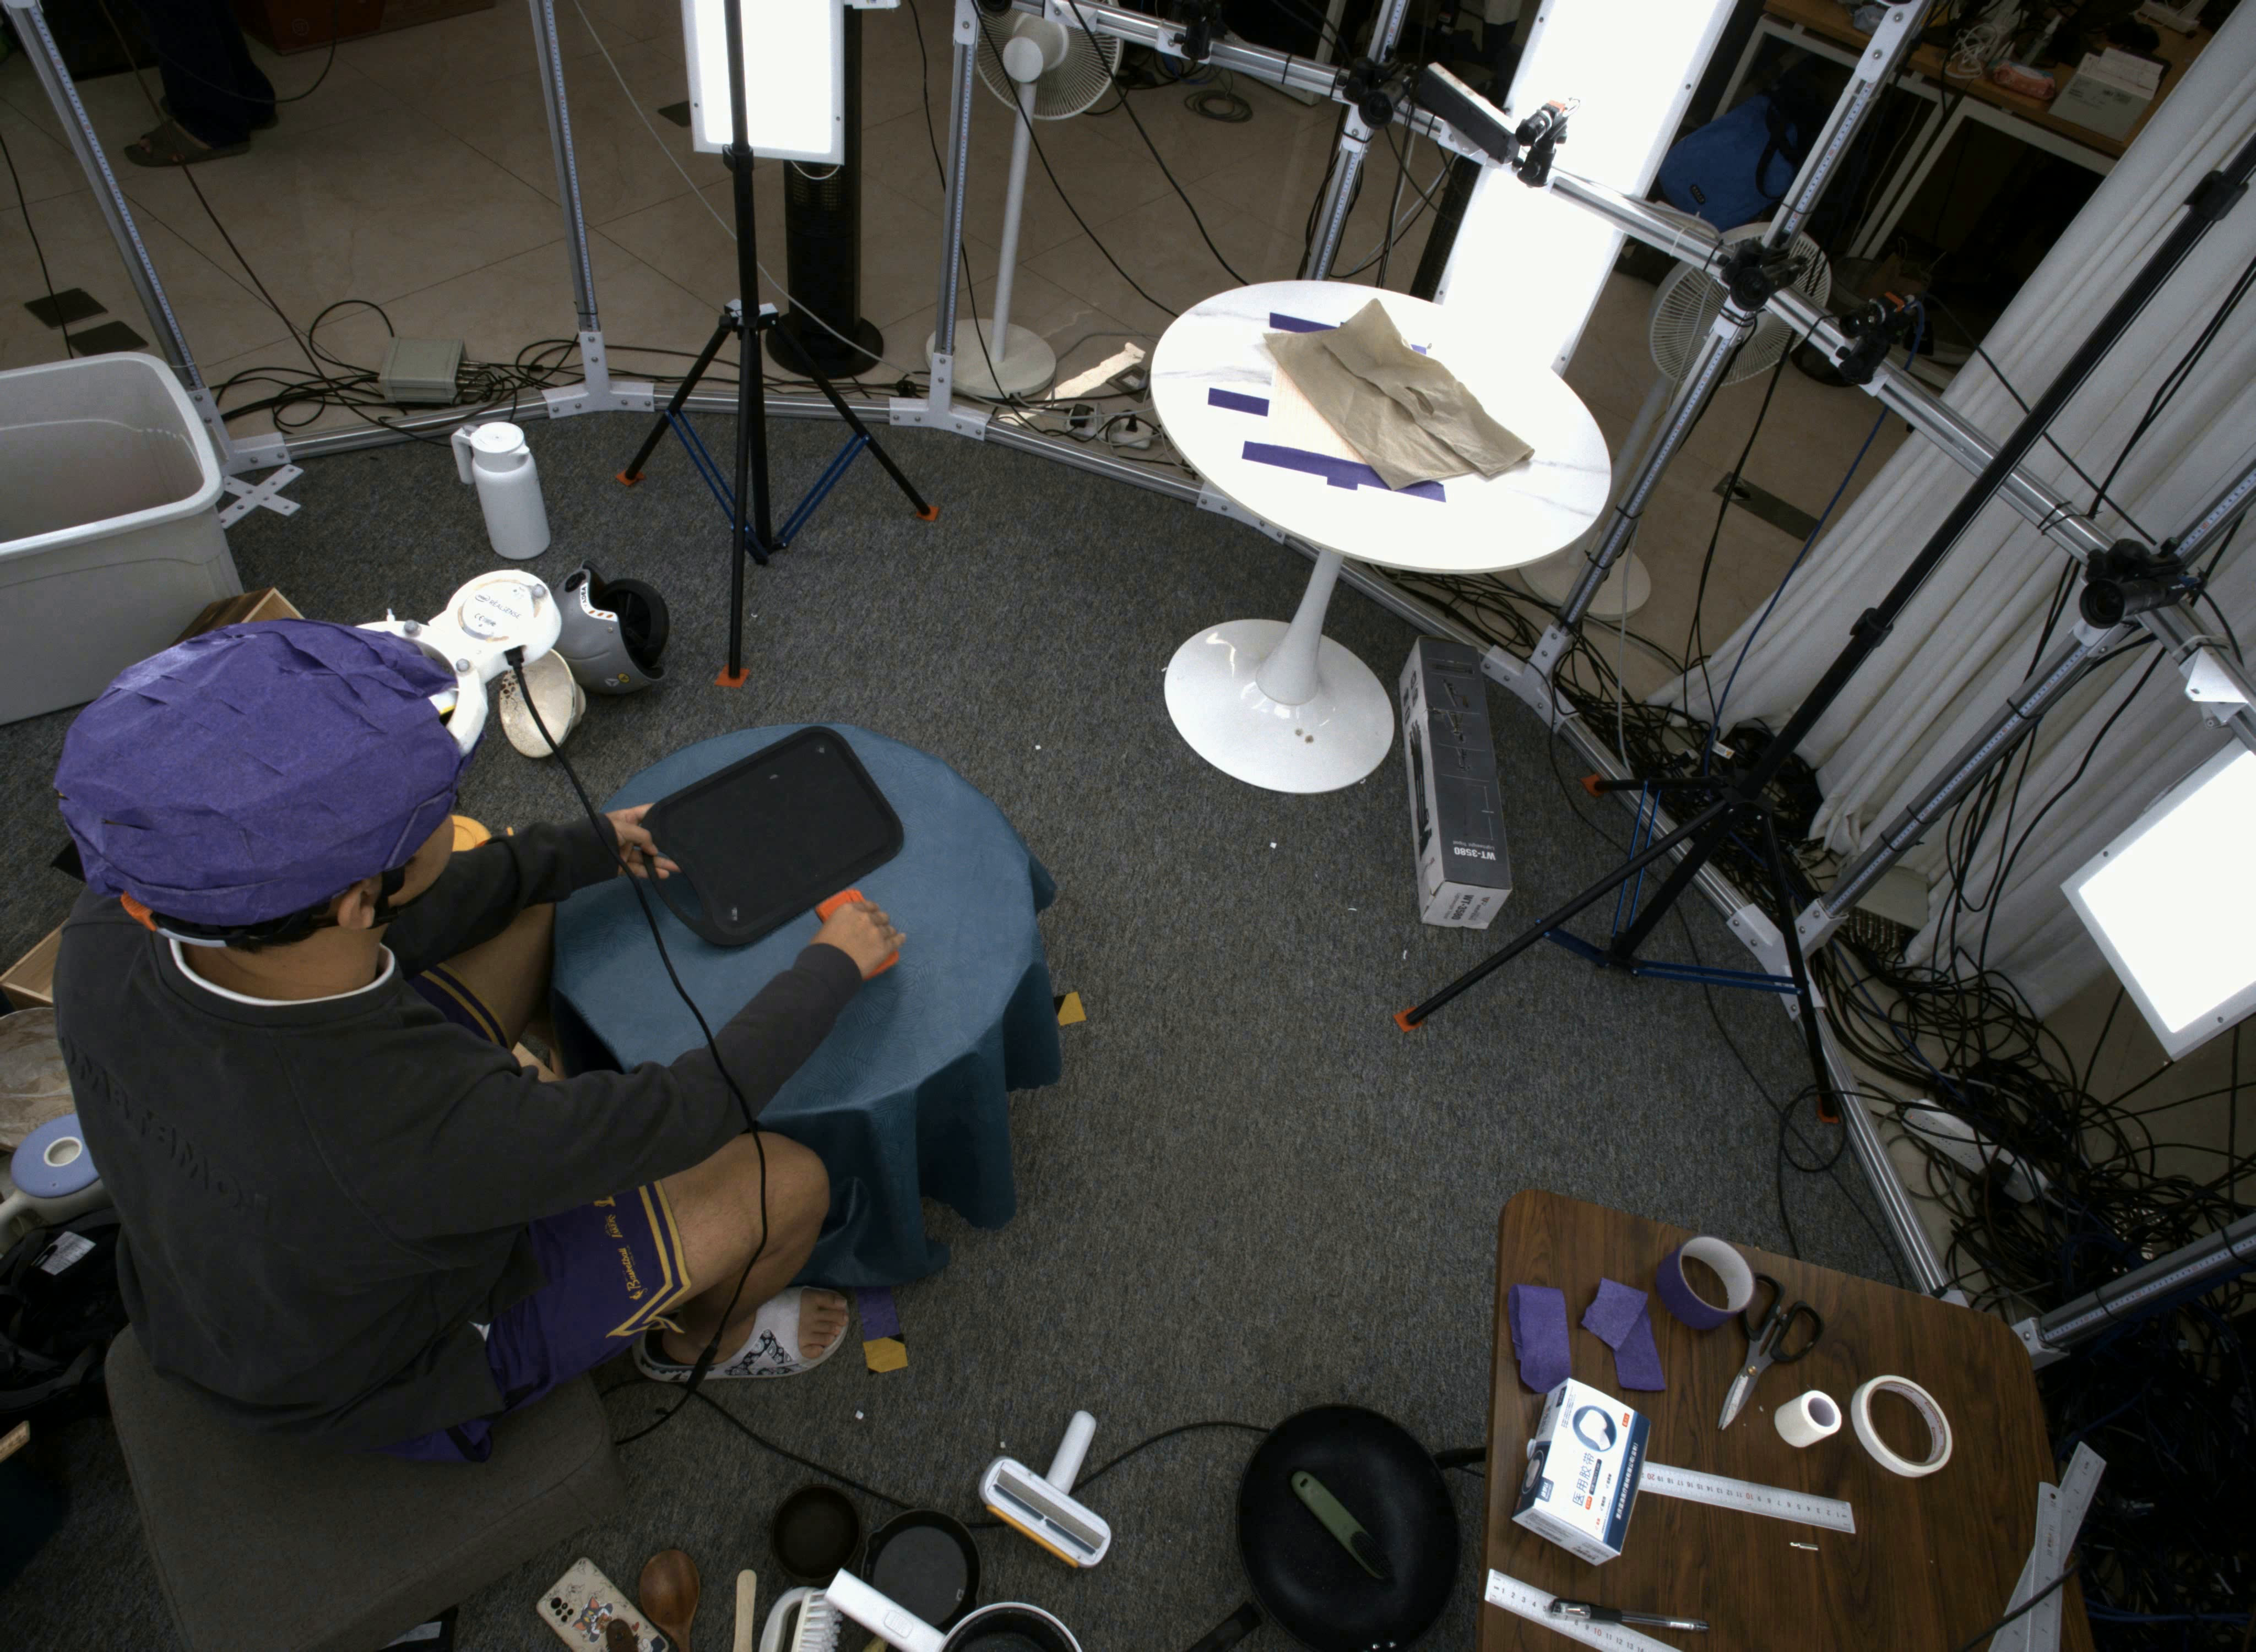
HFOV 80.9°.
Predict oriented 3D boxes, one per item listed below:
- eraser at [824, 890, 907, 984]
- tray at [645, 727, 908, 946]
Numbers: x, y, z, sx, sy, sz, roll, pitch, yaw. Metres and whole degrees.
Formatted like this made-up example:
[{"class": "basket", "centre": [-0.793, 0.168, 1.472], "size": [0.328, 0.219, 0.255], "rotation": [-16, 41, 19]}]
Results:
[{"class": "eraser", "centre": [-0.323, 0.134, 1.597], "size": [0.059, 0.023, 0.108], "rotation": [-32, 85, -32]}, {"class": "tray", "centre": [-0.450, 0.010, 1.657], "size": [0.326, 0.010, 0.212], "rotation": [-33, 89, -34]}]
